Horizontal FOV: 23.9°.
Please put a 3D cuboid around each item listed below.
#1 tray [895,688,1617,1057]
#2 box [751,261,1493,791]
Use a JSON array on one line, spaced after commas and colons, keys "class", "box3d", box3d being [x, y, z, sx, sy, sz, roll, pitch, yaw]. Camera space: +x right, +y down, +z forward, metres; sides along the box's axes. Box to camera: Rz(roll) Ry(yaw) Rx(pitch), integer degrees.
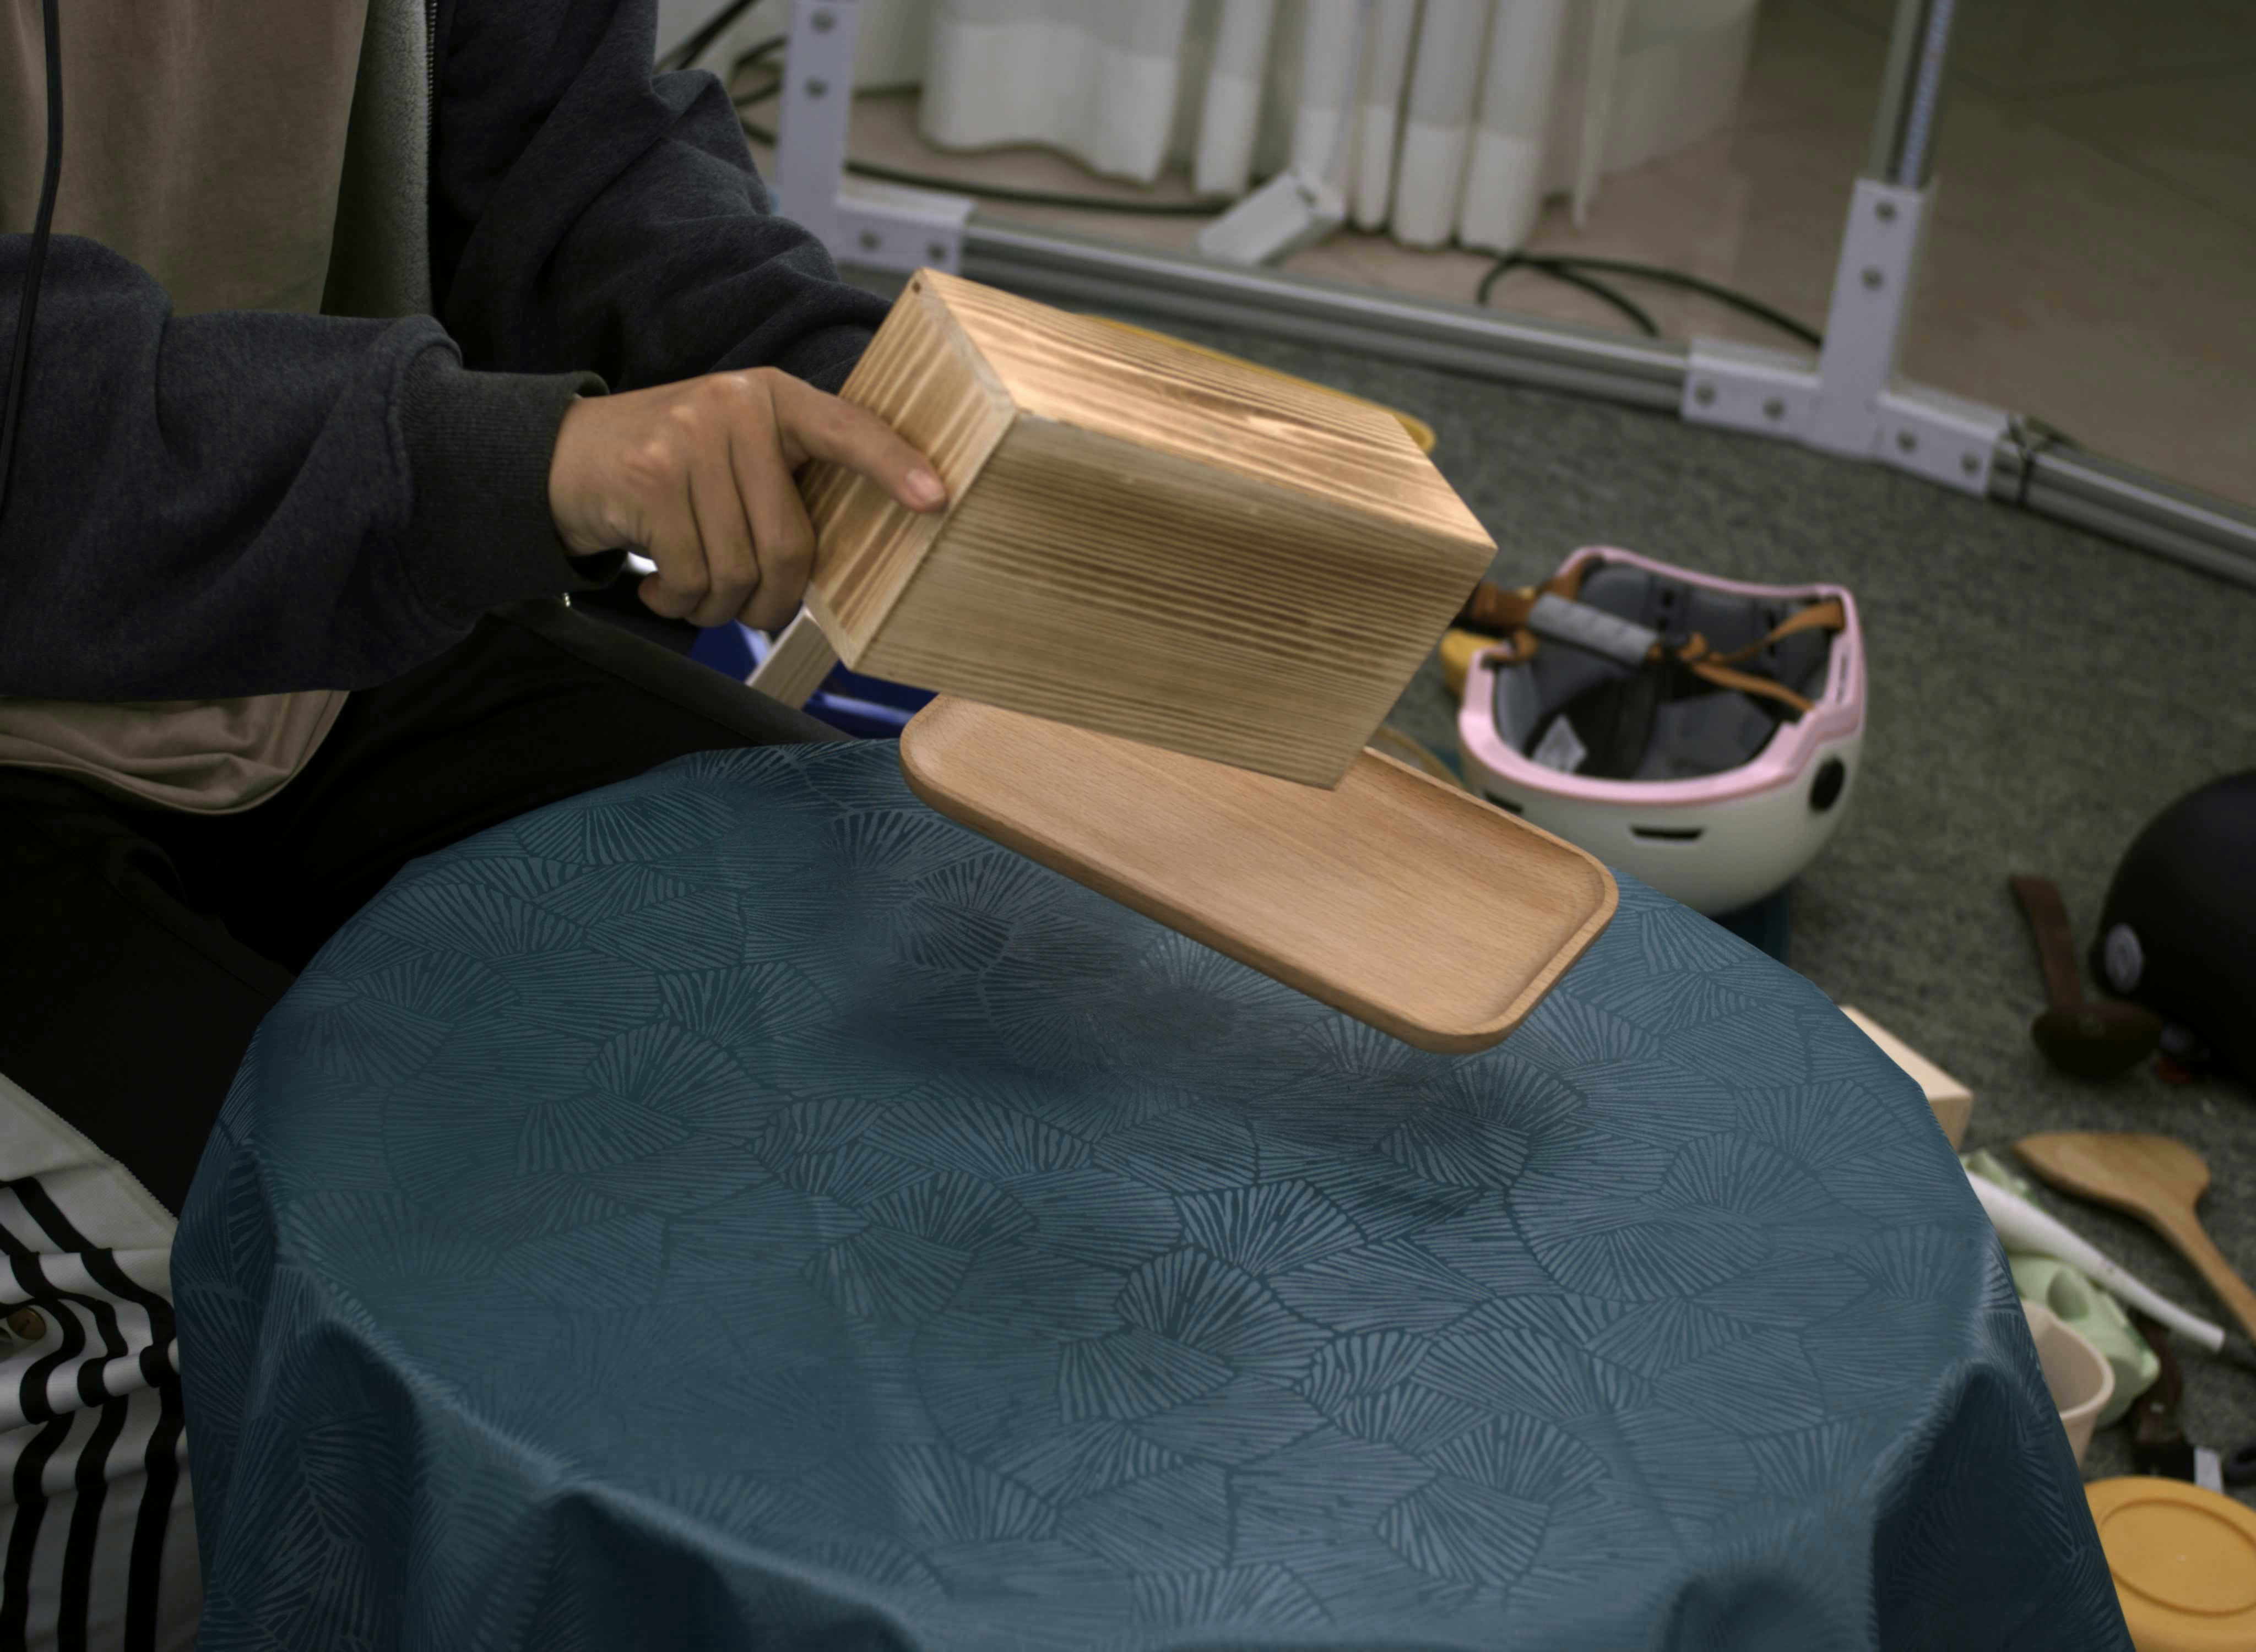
[{"class": "tray", "box3d": [0.044, 0.002, 1.887, 0.252, 0.023, 0.130, 26, 38, 21]}, {"class": "box", "box3d": [0.000, -0.095, 1.731, 0.209, 0.107, 0.081, 14, 30, -40]}]
